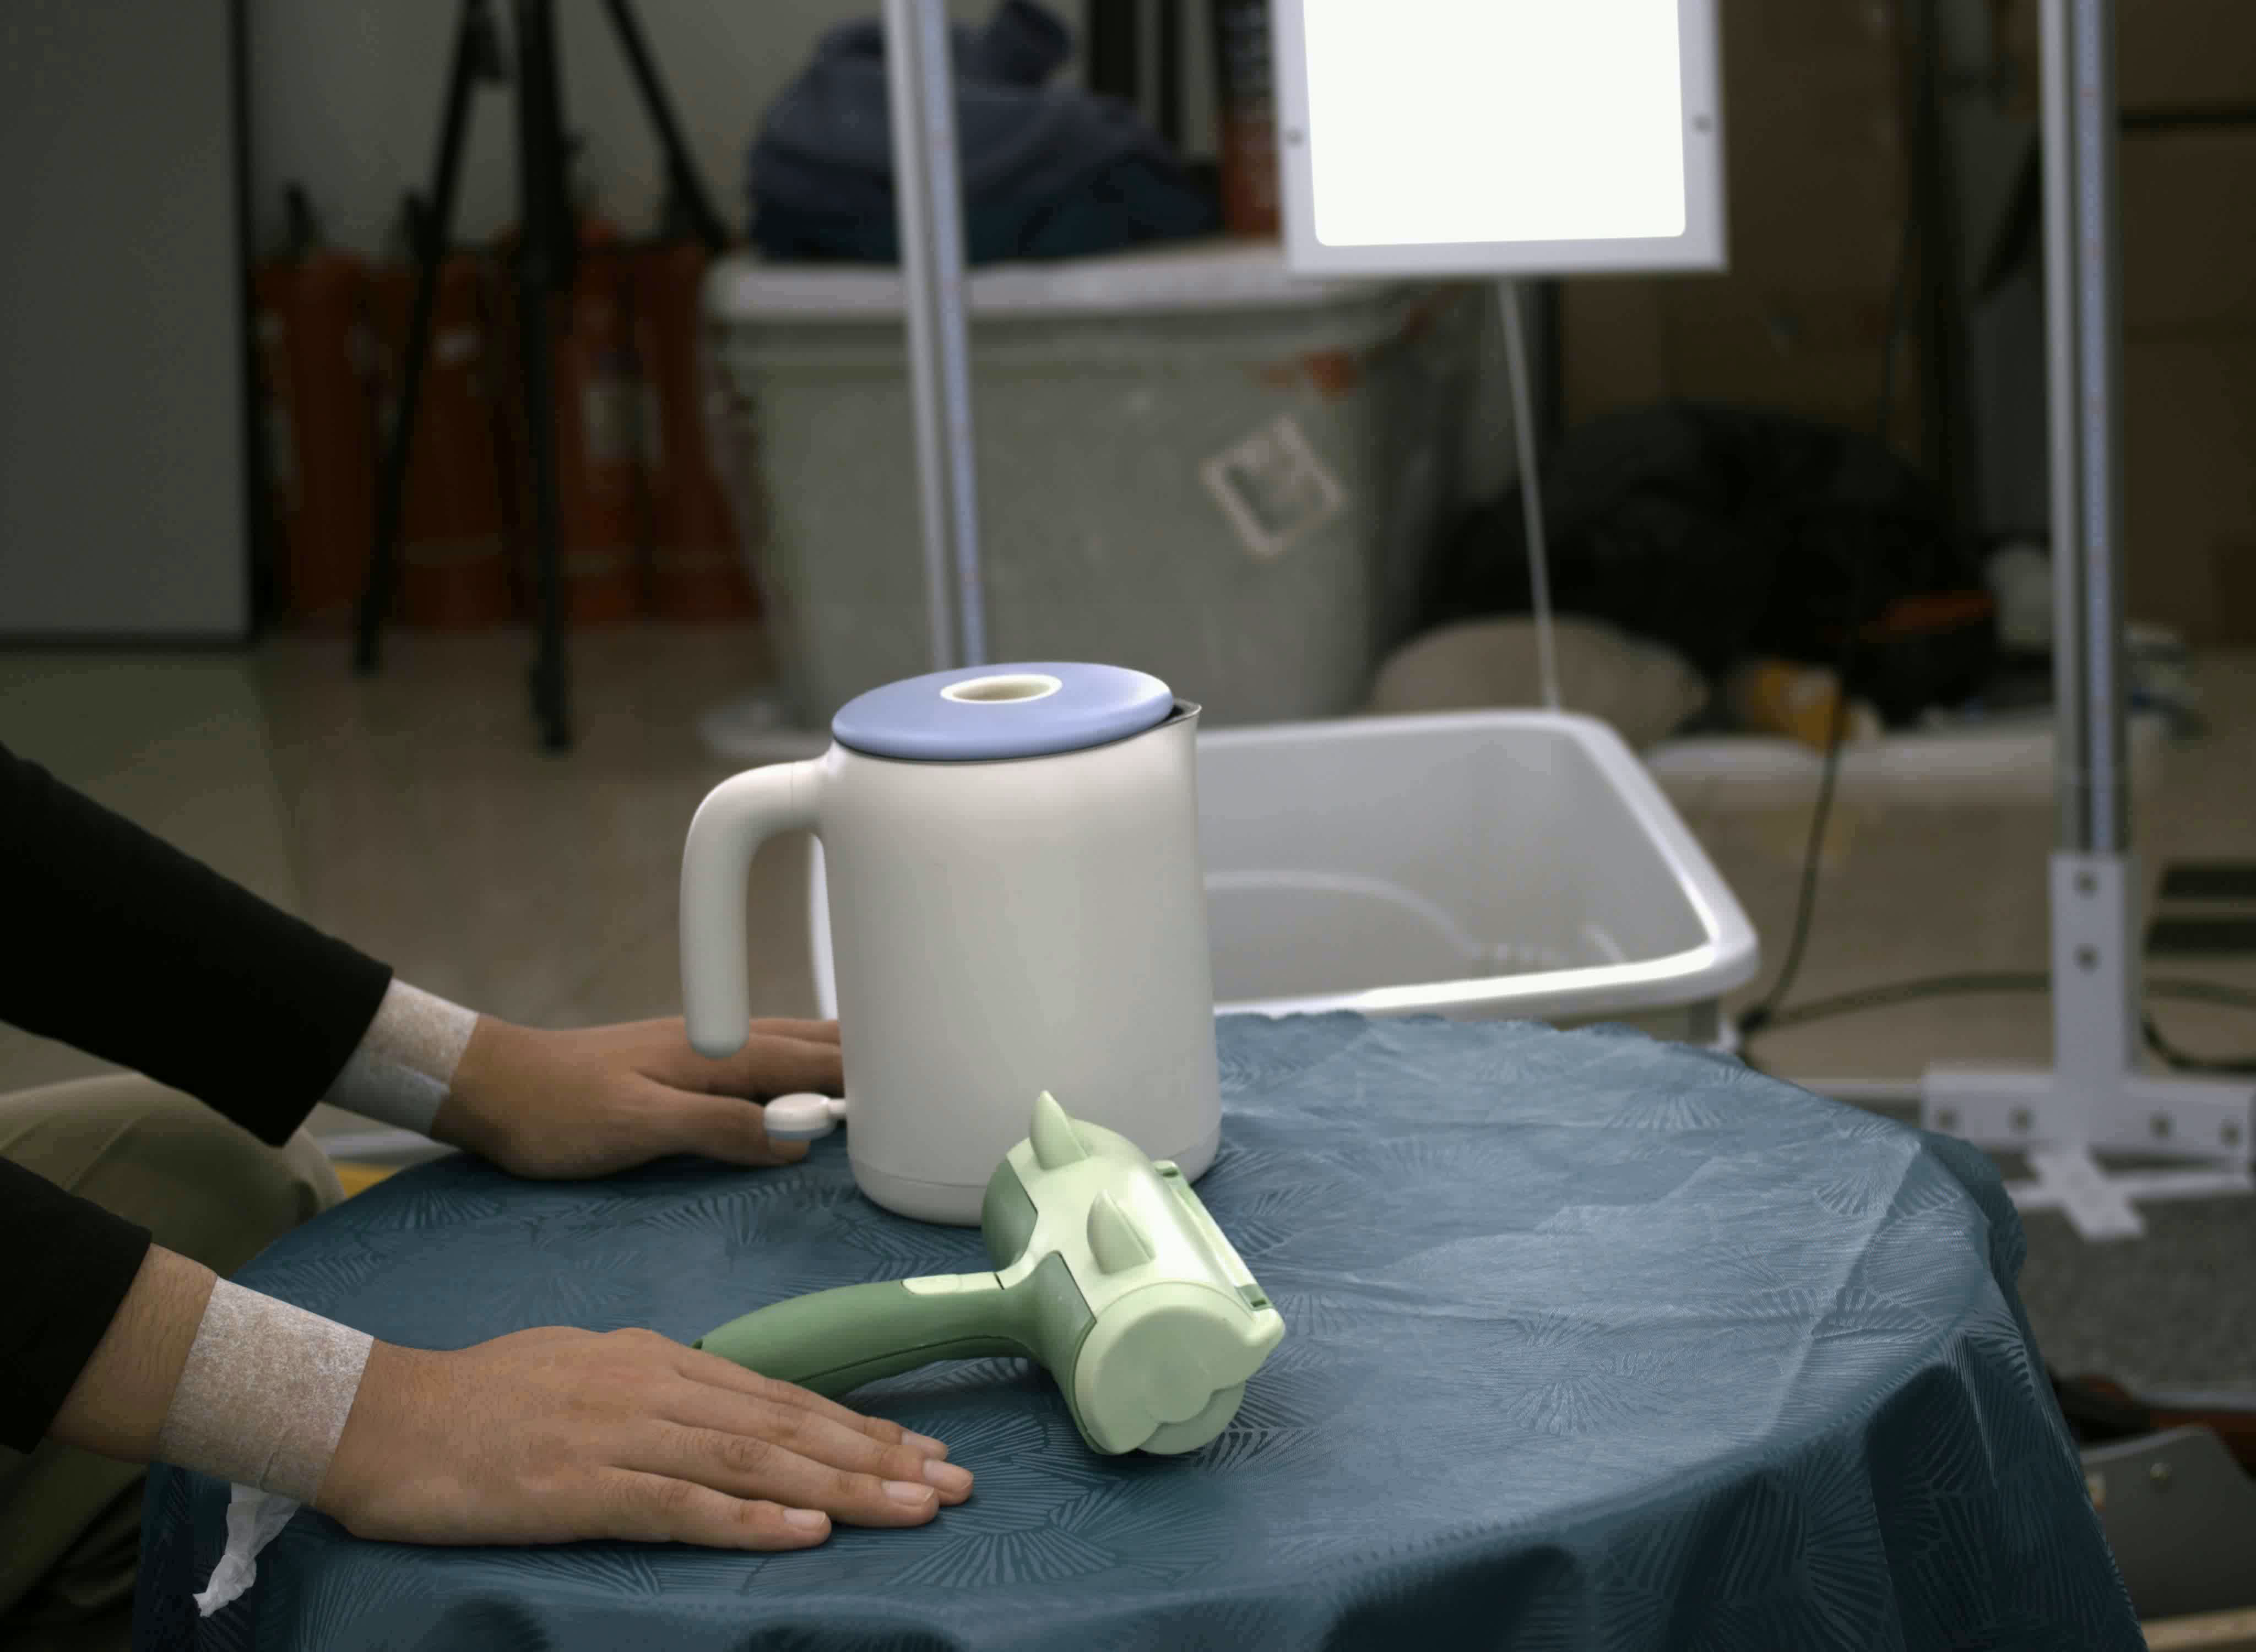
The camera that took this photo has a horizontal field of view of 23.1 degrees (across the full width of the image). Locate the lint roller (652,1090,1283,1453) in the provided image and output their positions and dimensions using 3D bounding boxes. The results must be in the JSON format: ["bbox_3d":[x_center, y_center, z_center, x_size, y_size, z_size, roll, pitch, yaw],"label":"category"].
[{"bbox_3d":[-0.058,0.139,1.708,0.182,0.082,0.199,-4,12,-8],"label":"lint roller"}]

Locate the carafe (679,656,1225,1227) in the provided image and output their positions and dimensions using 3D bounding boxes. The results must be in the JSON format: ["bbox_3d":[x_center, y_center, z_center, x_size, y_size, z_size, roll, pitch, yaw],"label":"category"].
[{"bbox_3d":[-0.061,0.041,1.907,0.191,0.183,0.131,-6,13,4],"label":"carafe"}]
